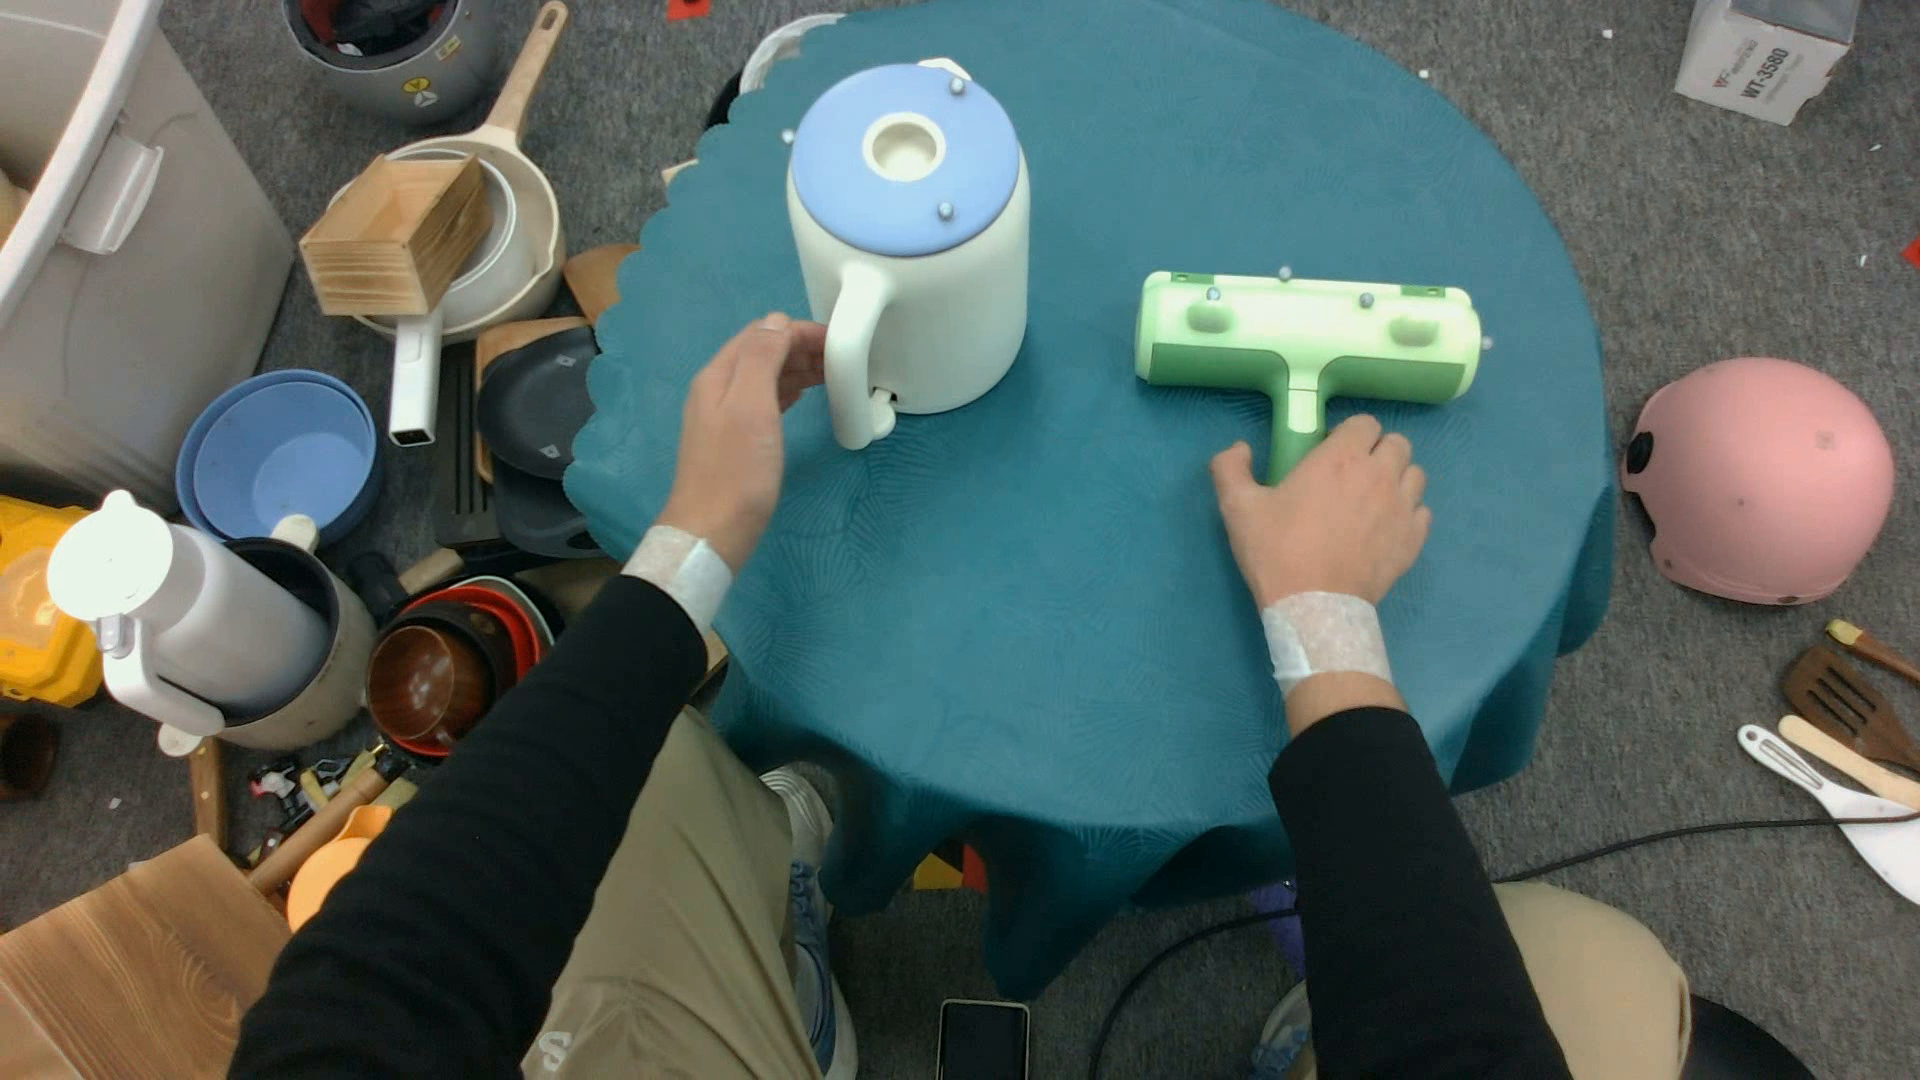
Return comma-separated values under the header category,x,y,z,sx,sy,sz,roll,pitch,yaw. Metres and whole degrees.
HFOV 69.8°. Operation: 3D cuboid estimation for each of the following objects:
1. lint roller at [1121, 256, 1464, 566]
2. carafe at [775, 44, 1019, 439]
category,x,y,z,sx,sy,sz,roll,pitch,yaw
lint roller,0.191,-0.081,0.796,0.198,0.082,0.184,5,65,4
carafe,-0.040,-0.152,0.776,0.132,0.182,0.191,15,71,7
